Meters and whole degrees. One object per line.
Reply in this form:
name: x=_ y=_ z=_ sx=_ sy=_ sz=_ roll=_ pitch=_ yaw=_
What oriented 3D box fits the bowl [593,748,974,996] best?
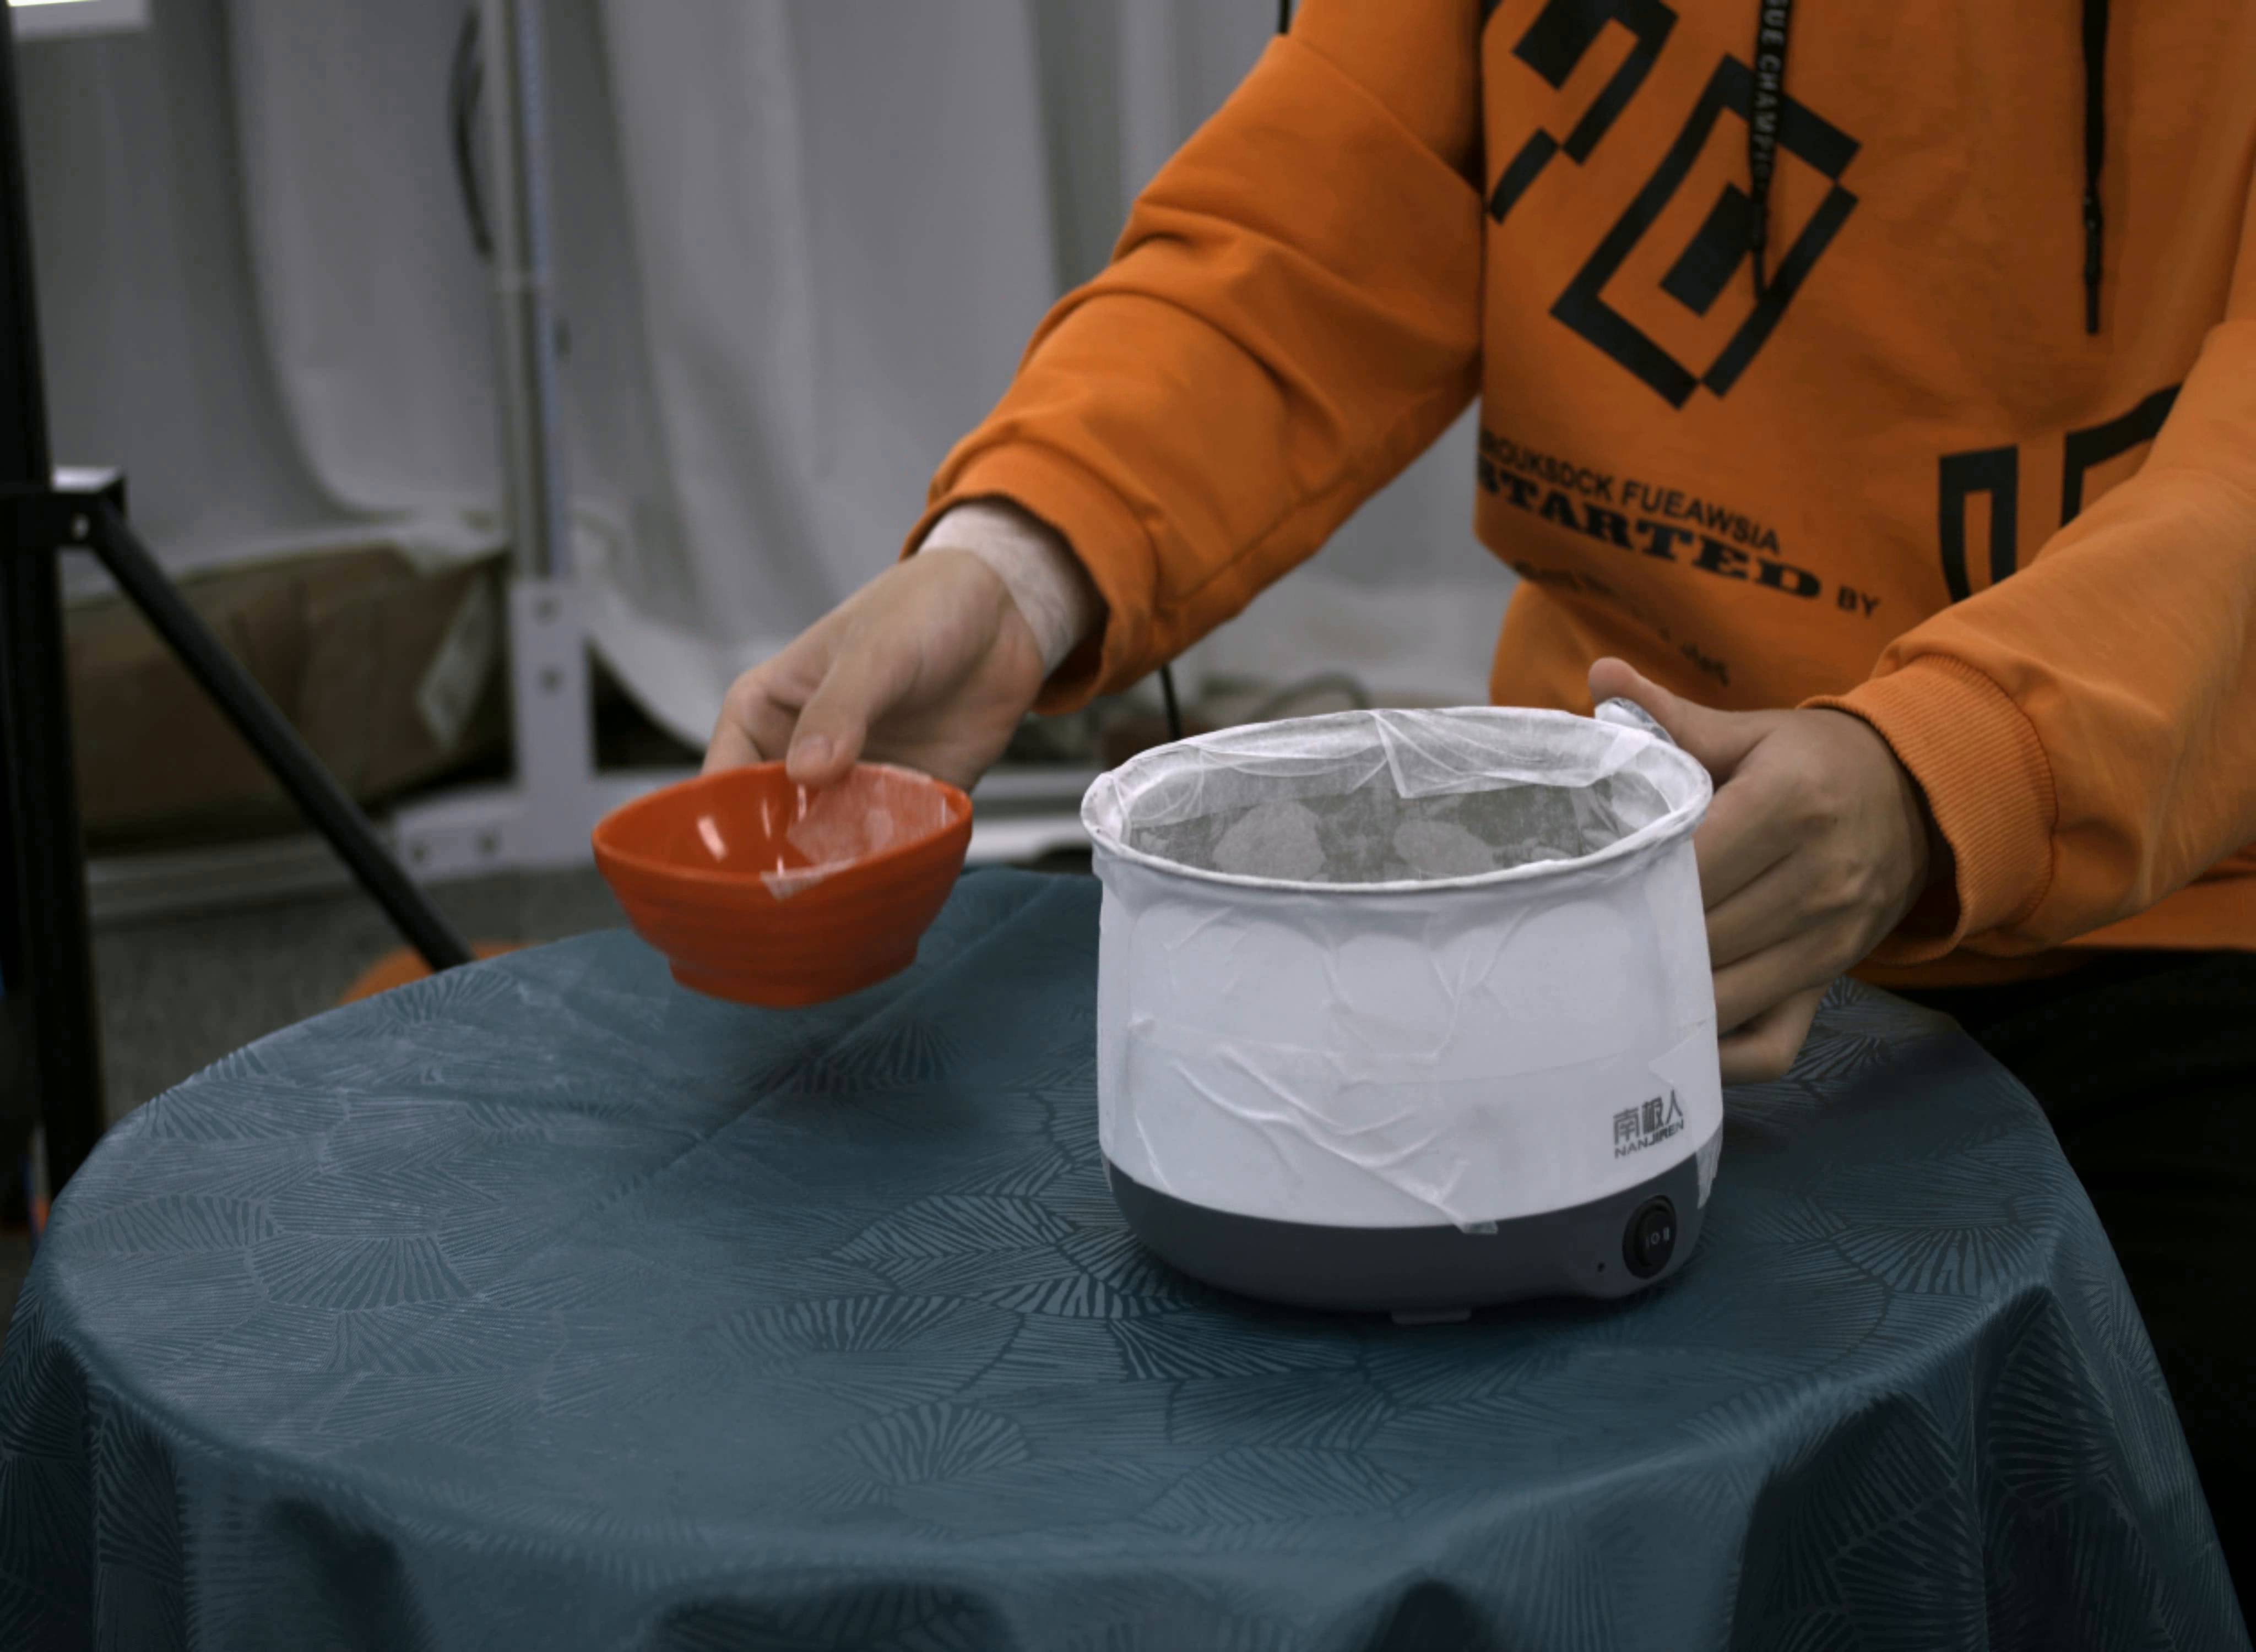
bowl: x=-0.105 y=0.017 z=1.654 sx=0.118 sy=0.051 sz=0.119 roll=-5 pitch=17 yaw=0

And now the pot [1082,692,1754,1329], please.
pot: x=0.096 y=0.044 z=1.508 sx=0.183 sy=0.136 sz=0.228 roll=12 pitch=23 yaw=41
